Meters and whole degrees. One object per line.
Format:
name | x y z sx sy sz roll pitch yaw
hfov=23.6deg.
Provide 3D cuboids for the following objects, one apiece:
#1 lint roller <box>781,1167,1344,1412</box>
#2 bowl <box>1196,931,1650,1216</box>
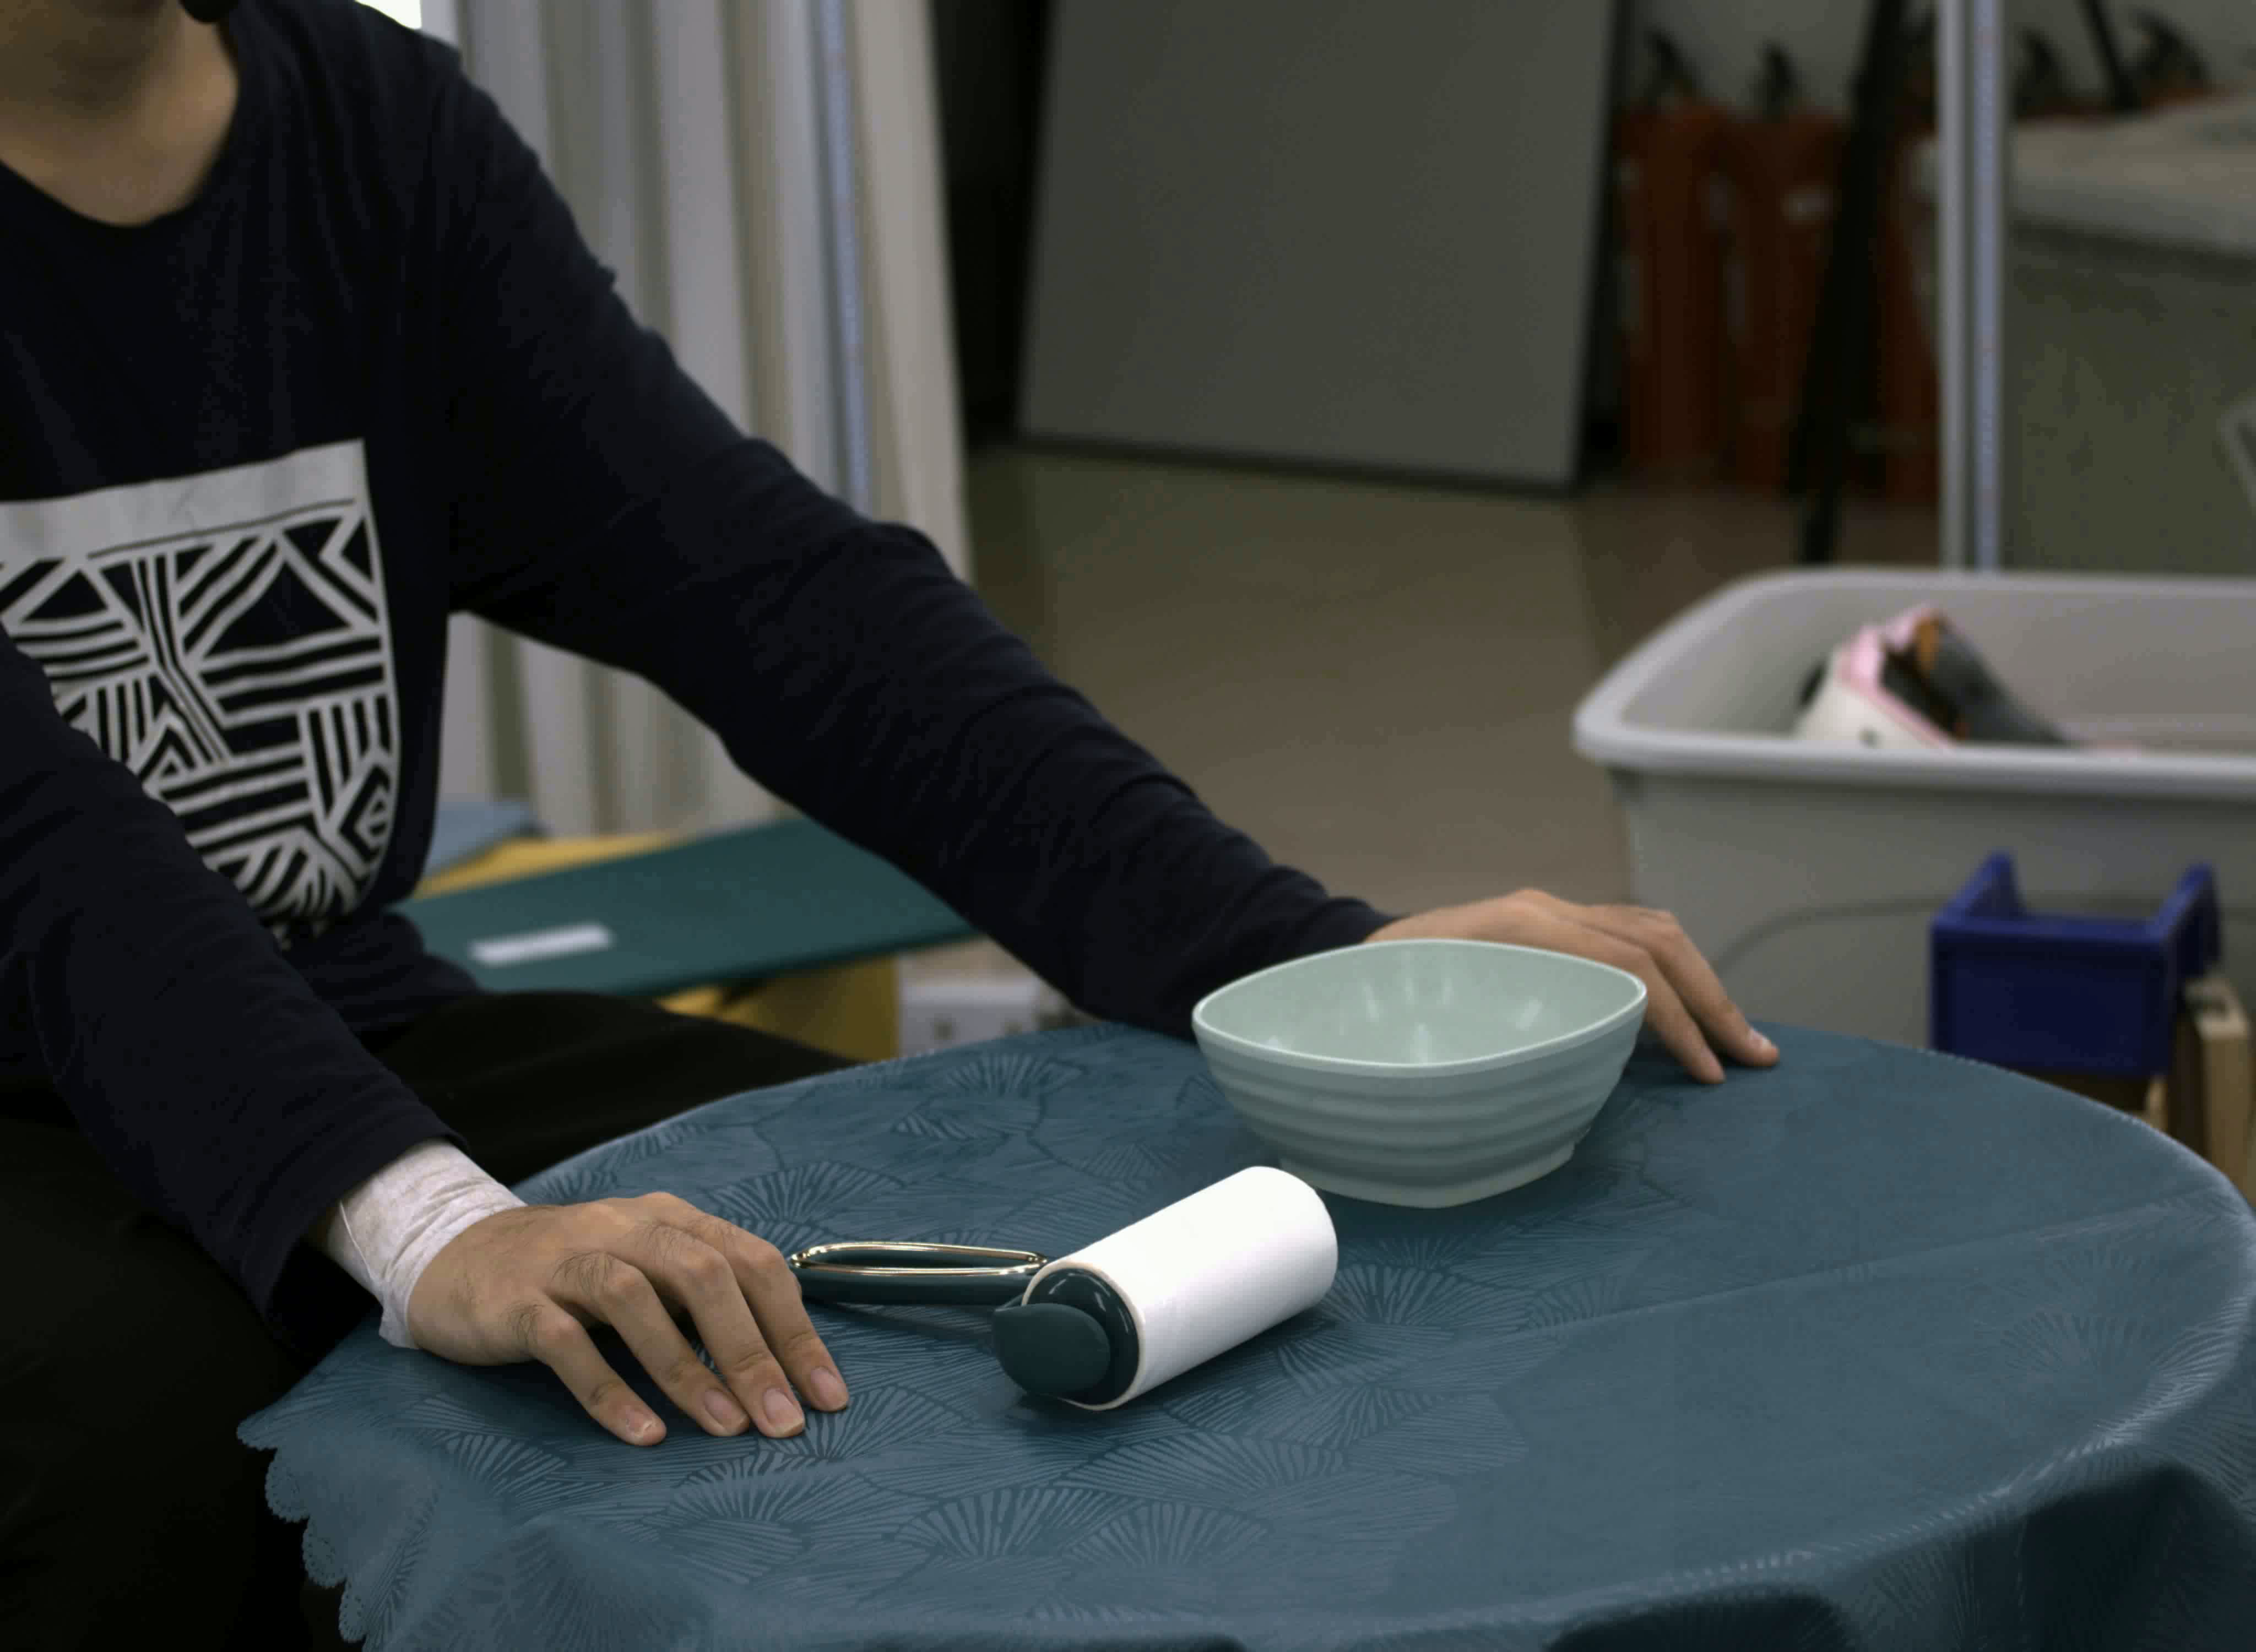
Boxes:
lint roller | -0.037 0.135 1.645 0.181 0.049 0.132 2 14 38
bowl | 0.098 0.085 1.776 0.149 0.059 0.152 -3 16 0
